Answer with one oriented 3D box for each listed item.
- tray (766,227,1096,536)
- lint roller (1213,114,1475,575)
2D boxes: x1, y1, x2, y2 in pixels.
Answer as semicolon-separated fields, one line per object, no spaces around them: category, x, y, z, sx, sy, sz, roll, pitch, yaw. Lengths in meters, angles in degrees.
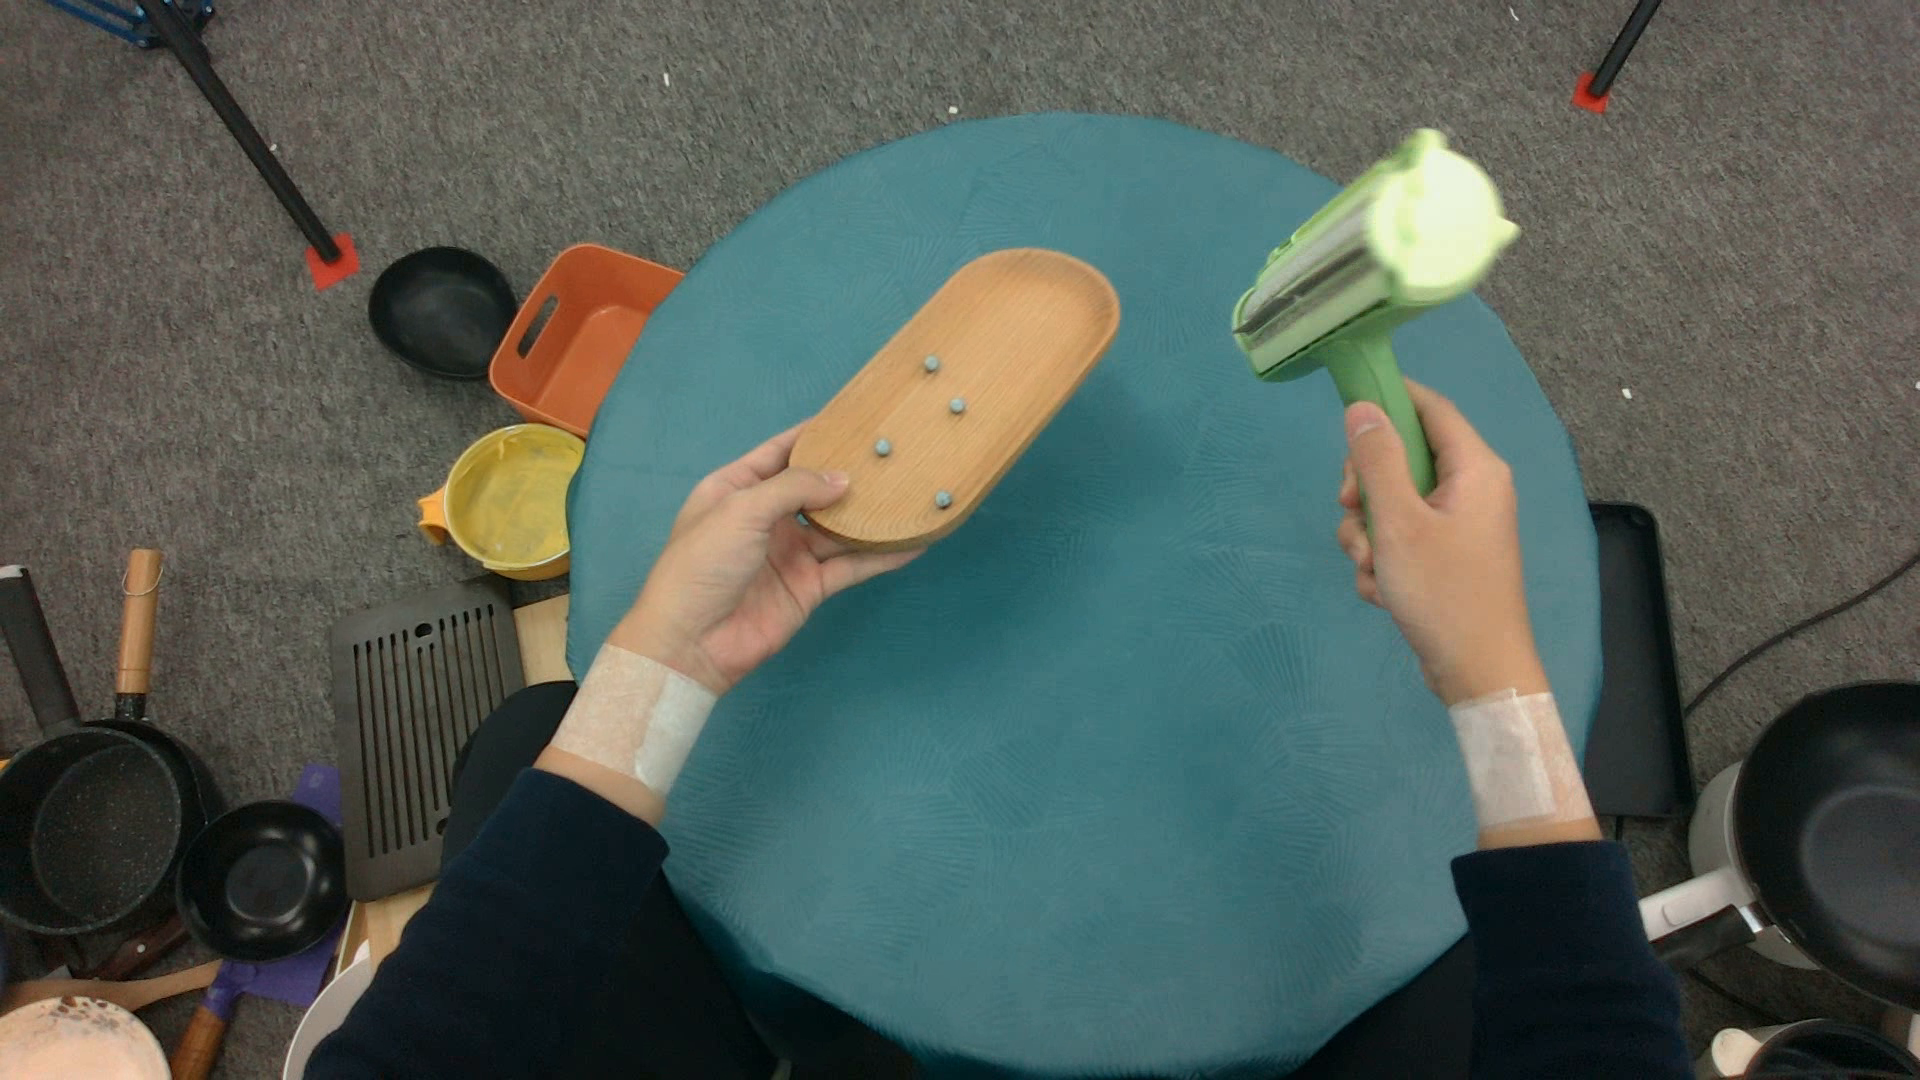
tray;-0.011;-0.088;0.721;0.101;0.020;0.232;26;57;19
lint roller;0.192;-0.080;0.618;0.082;0.198;0.183;-28;90;-3
